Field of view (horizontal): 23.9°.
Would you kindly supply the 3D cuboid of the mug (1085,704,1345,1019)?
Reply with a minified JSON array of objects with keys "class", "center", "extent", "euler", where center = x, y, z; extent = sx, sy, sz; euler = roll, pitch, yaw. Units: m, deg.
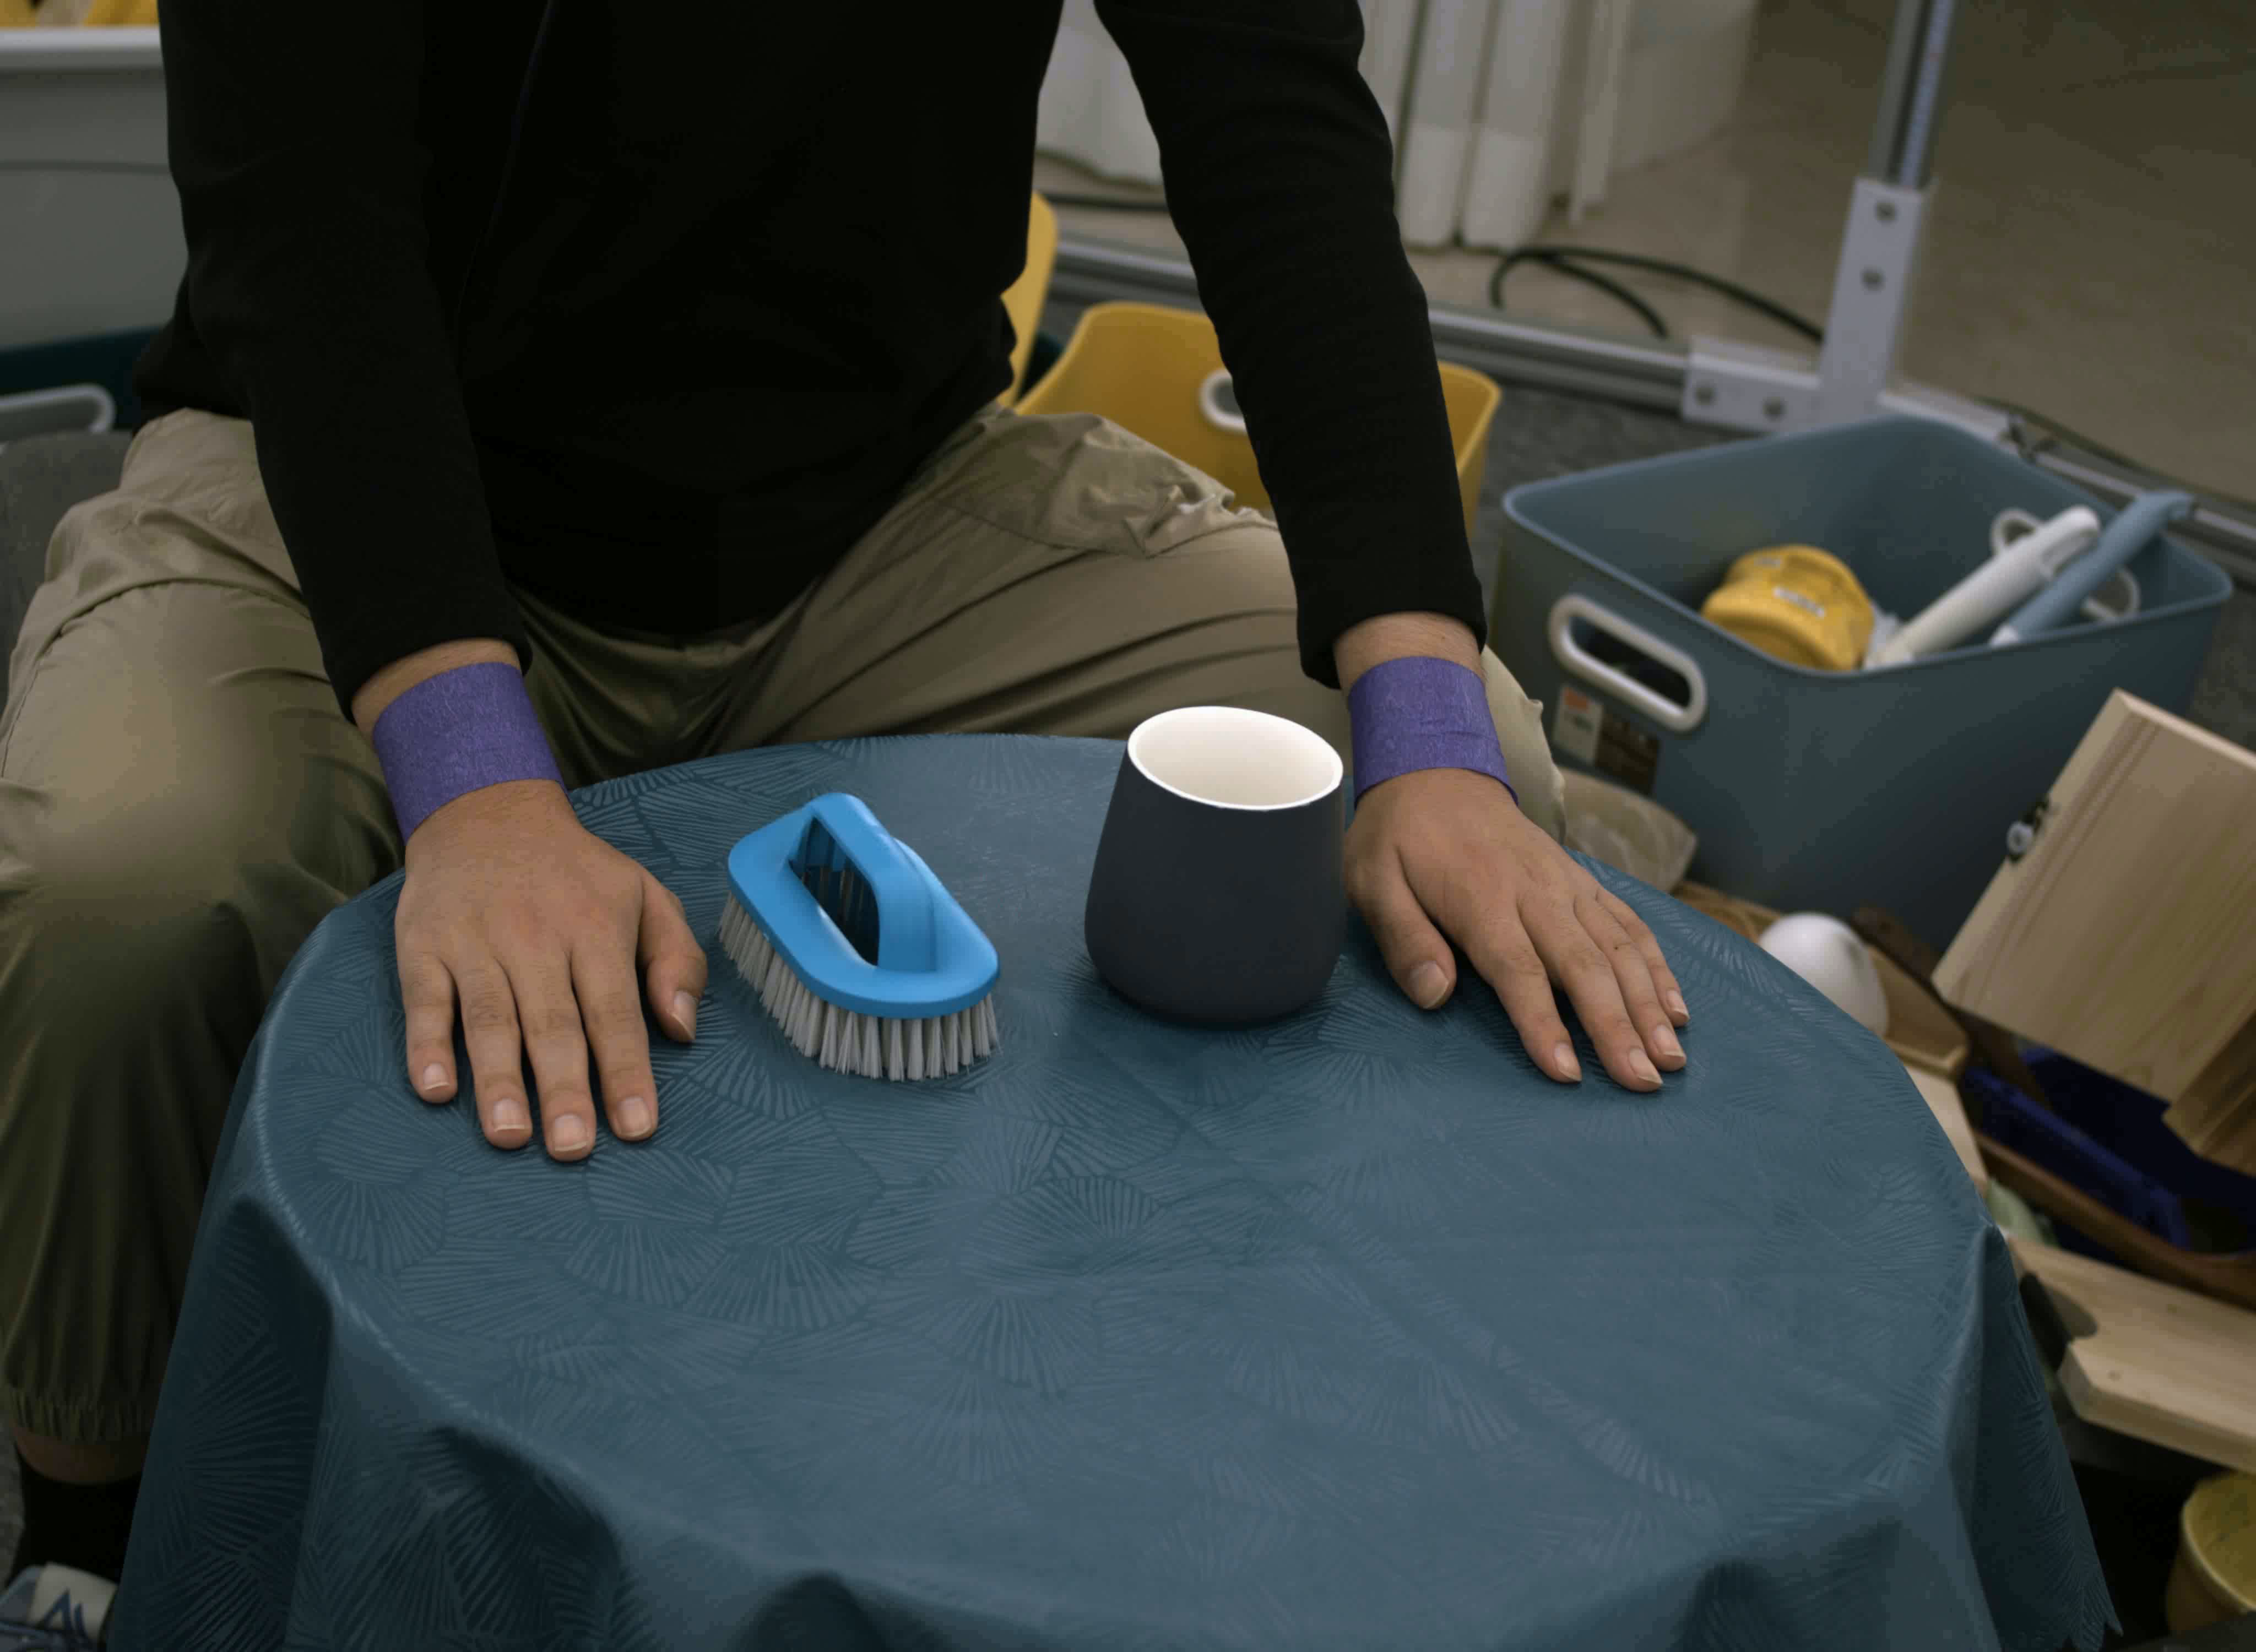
[{"class":"mug","center":[0.030,0.006,1.935],"extent":[0.093,0.089,0.124],"euler":[-2,29,-17]}]

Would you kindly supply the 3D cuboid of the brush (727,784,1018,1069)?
[{"class":"brush","center":[-0.093,0.027,1.897],"extent":[0.084,0.063,0.143],"euler":[-10,30,-21]}]
